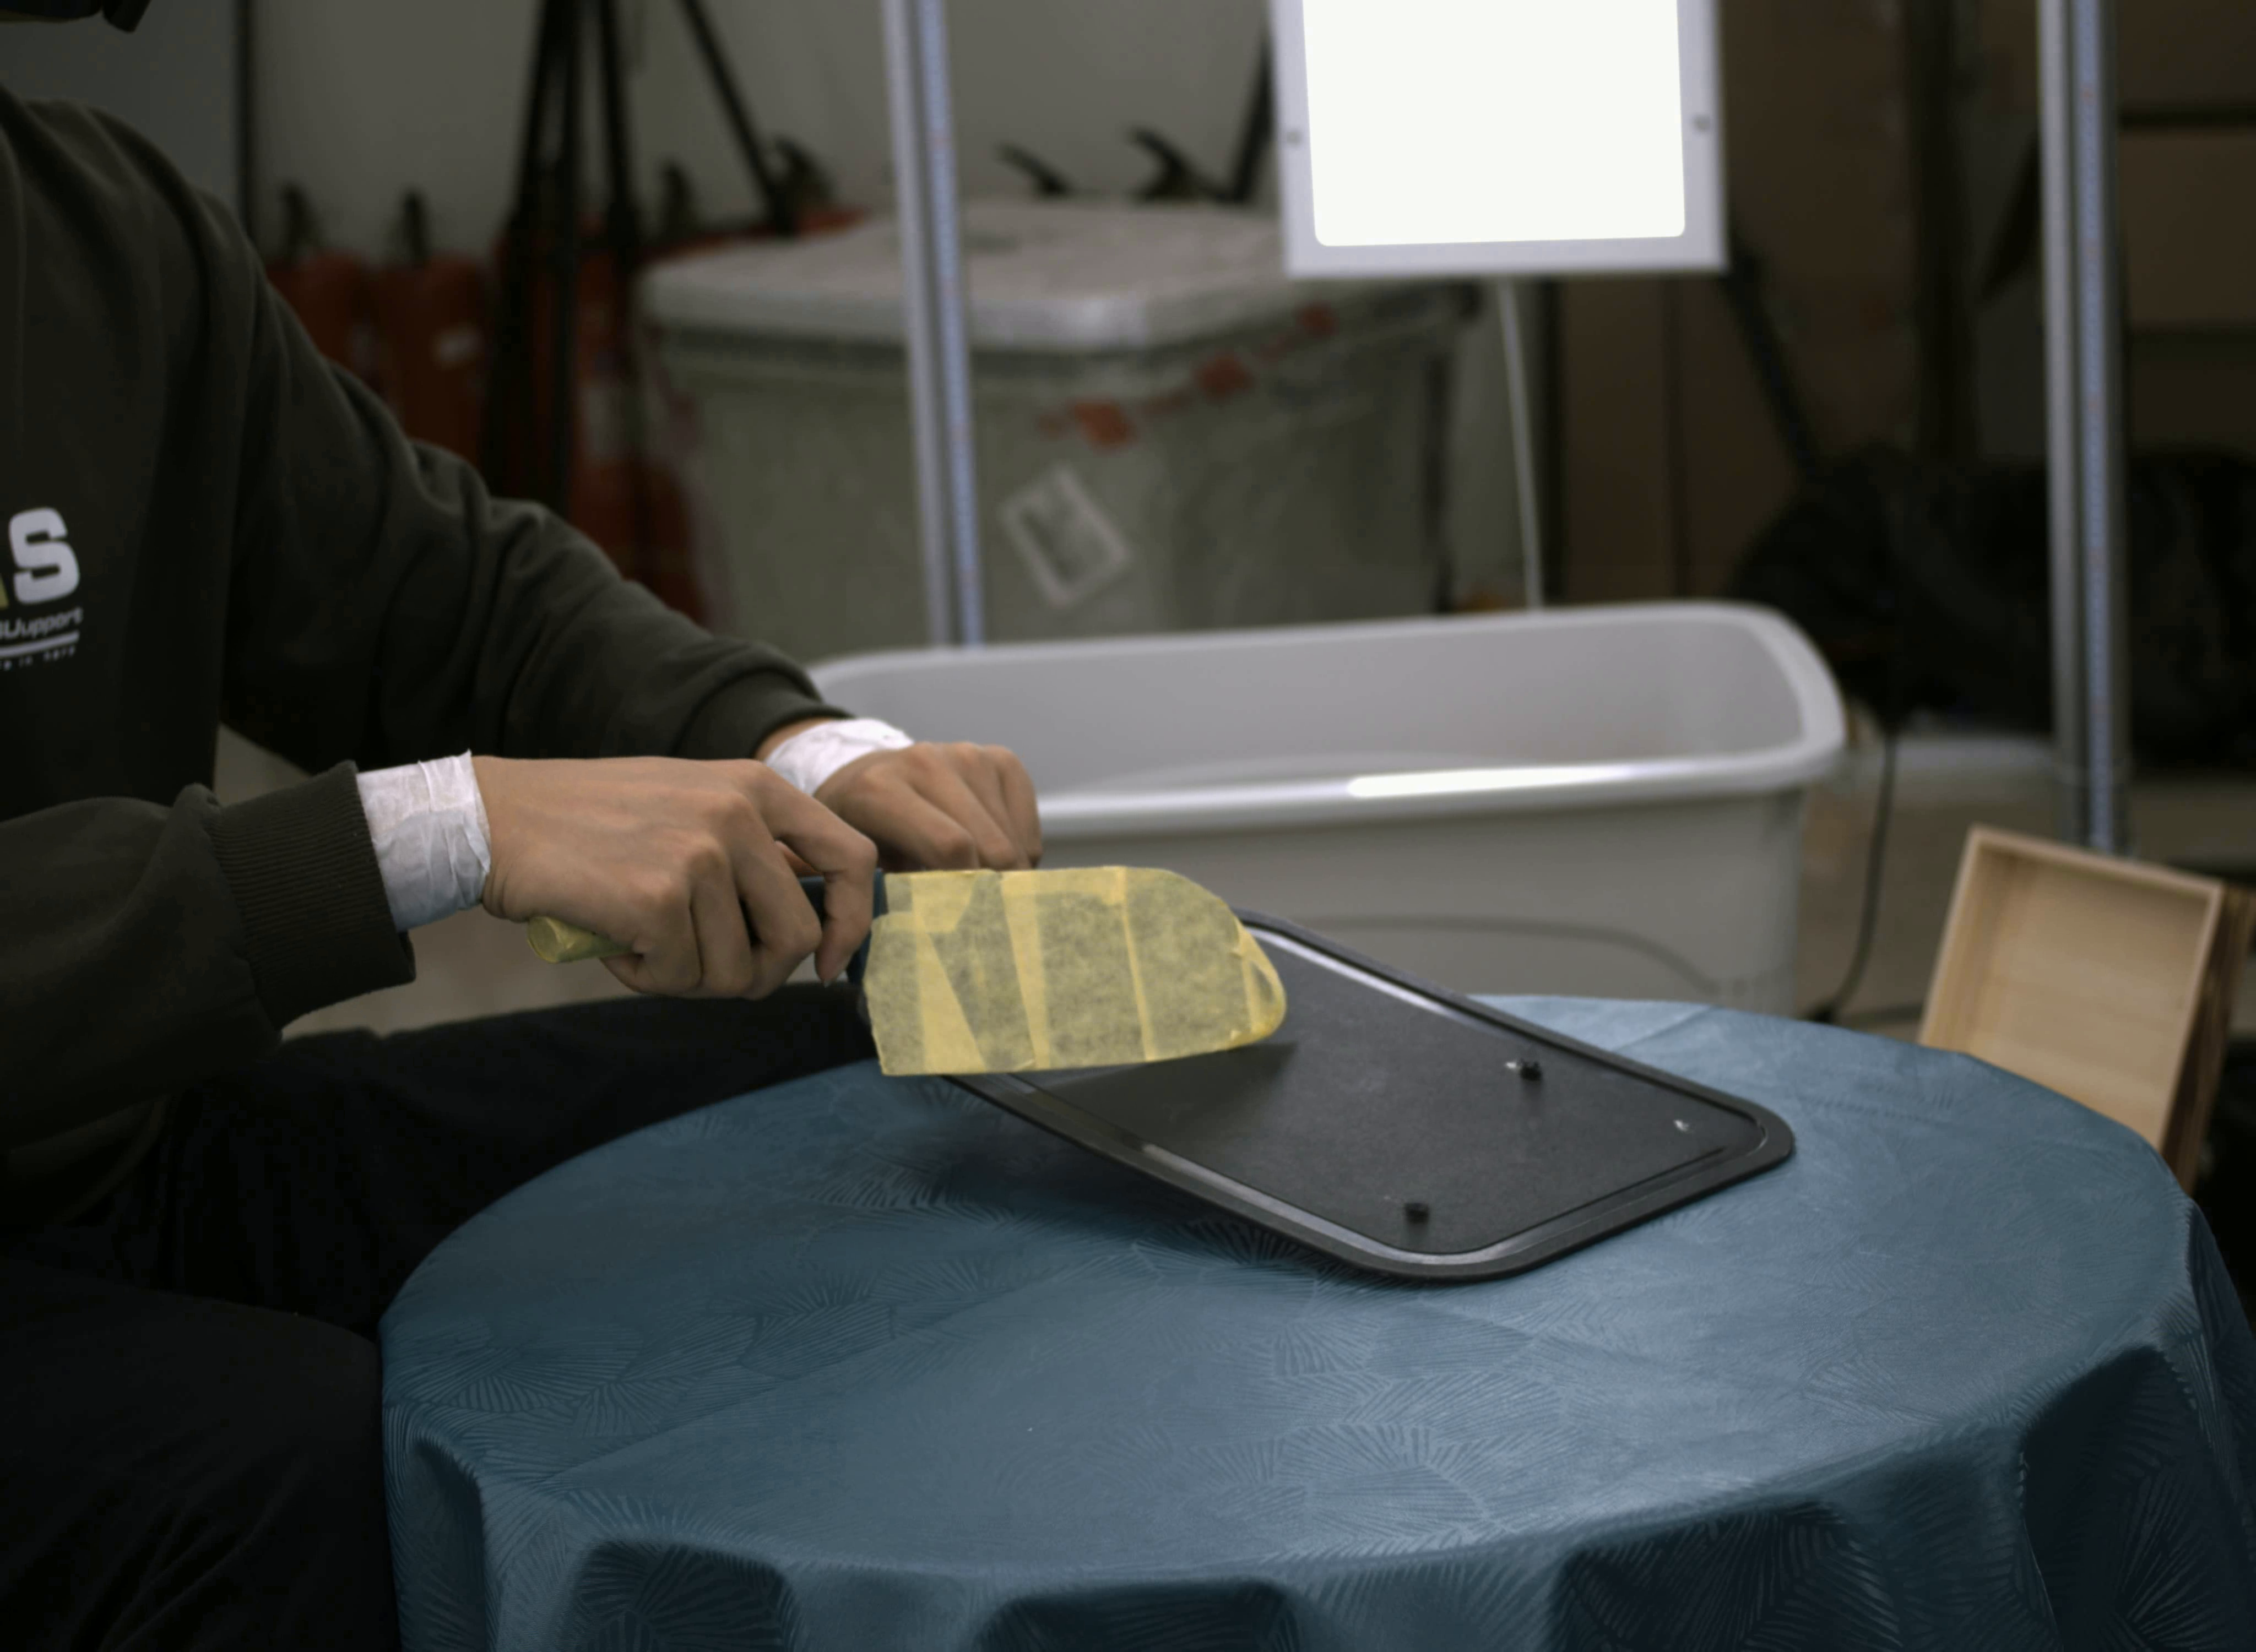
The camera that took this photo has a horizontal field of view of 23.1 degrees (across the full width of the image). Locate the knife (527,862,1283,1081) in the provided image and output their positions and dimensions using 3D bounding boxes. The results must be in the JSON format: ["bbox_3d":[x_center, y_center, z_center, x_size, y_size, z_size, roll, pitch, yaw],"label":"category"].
[{"bbox_3d":[-0.071,0.050,1.906,0.283,0.081,0.028,1,-22,-26],"label":"knife"}]

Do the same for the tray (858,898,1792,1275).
[{"bbox_3d":[0.060,0.083,1.930,0.206,0.010,0.331,-16,28,-41],"label":"tray"}]
